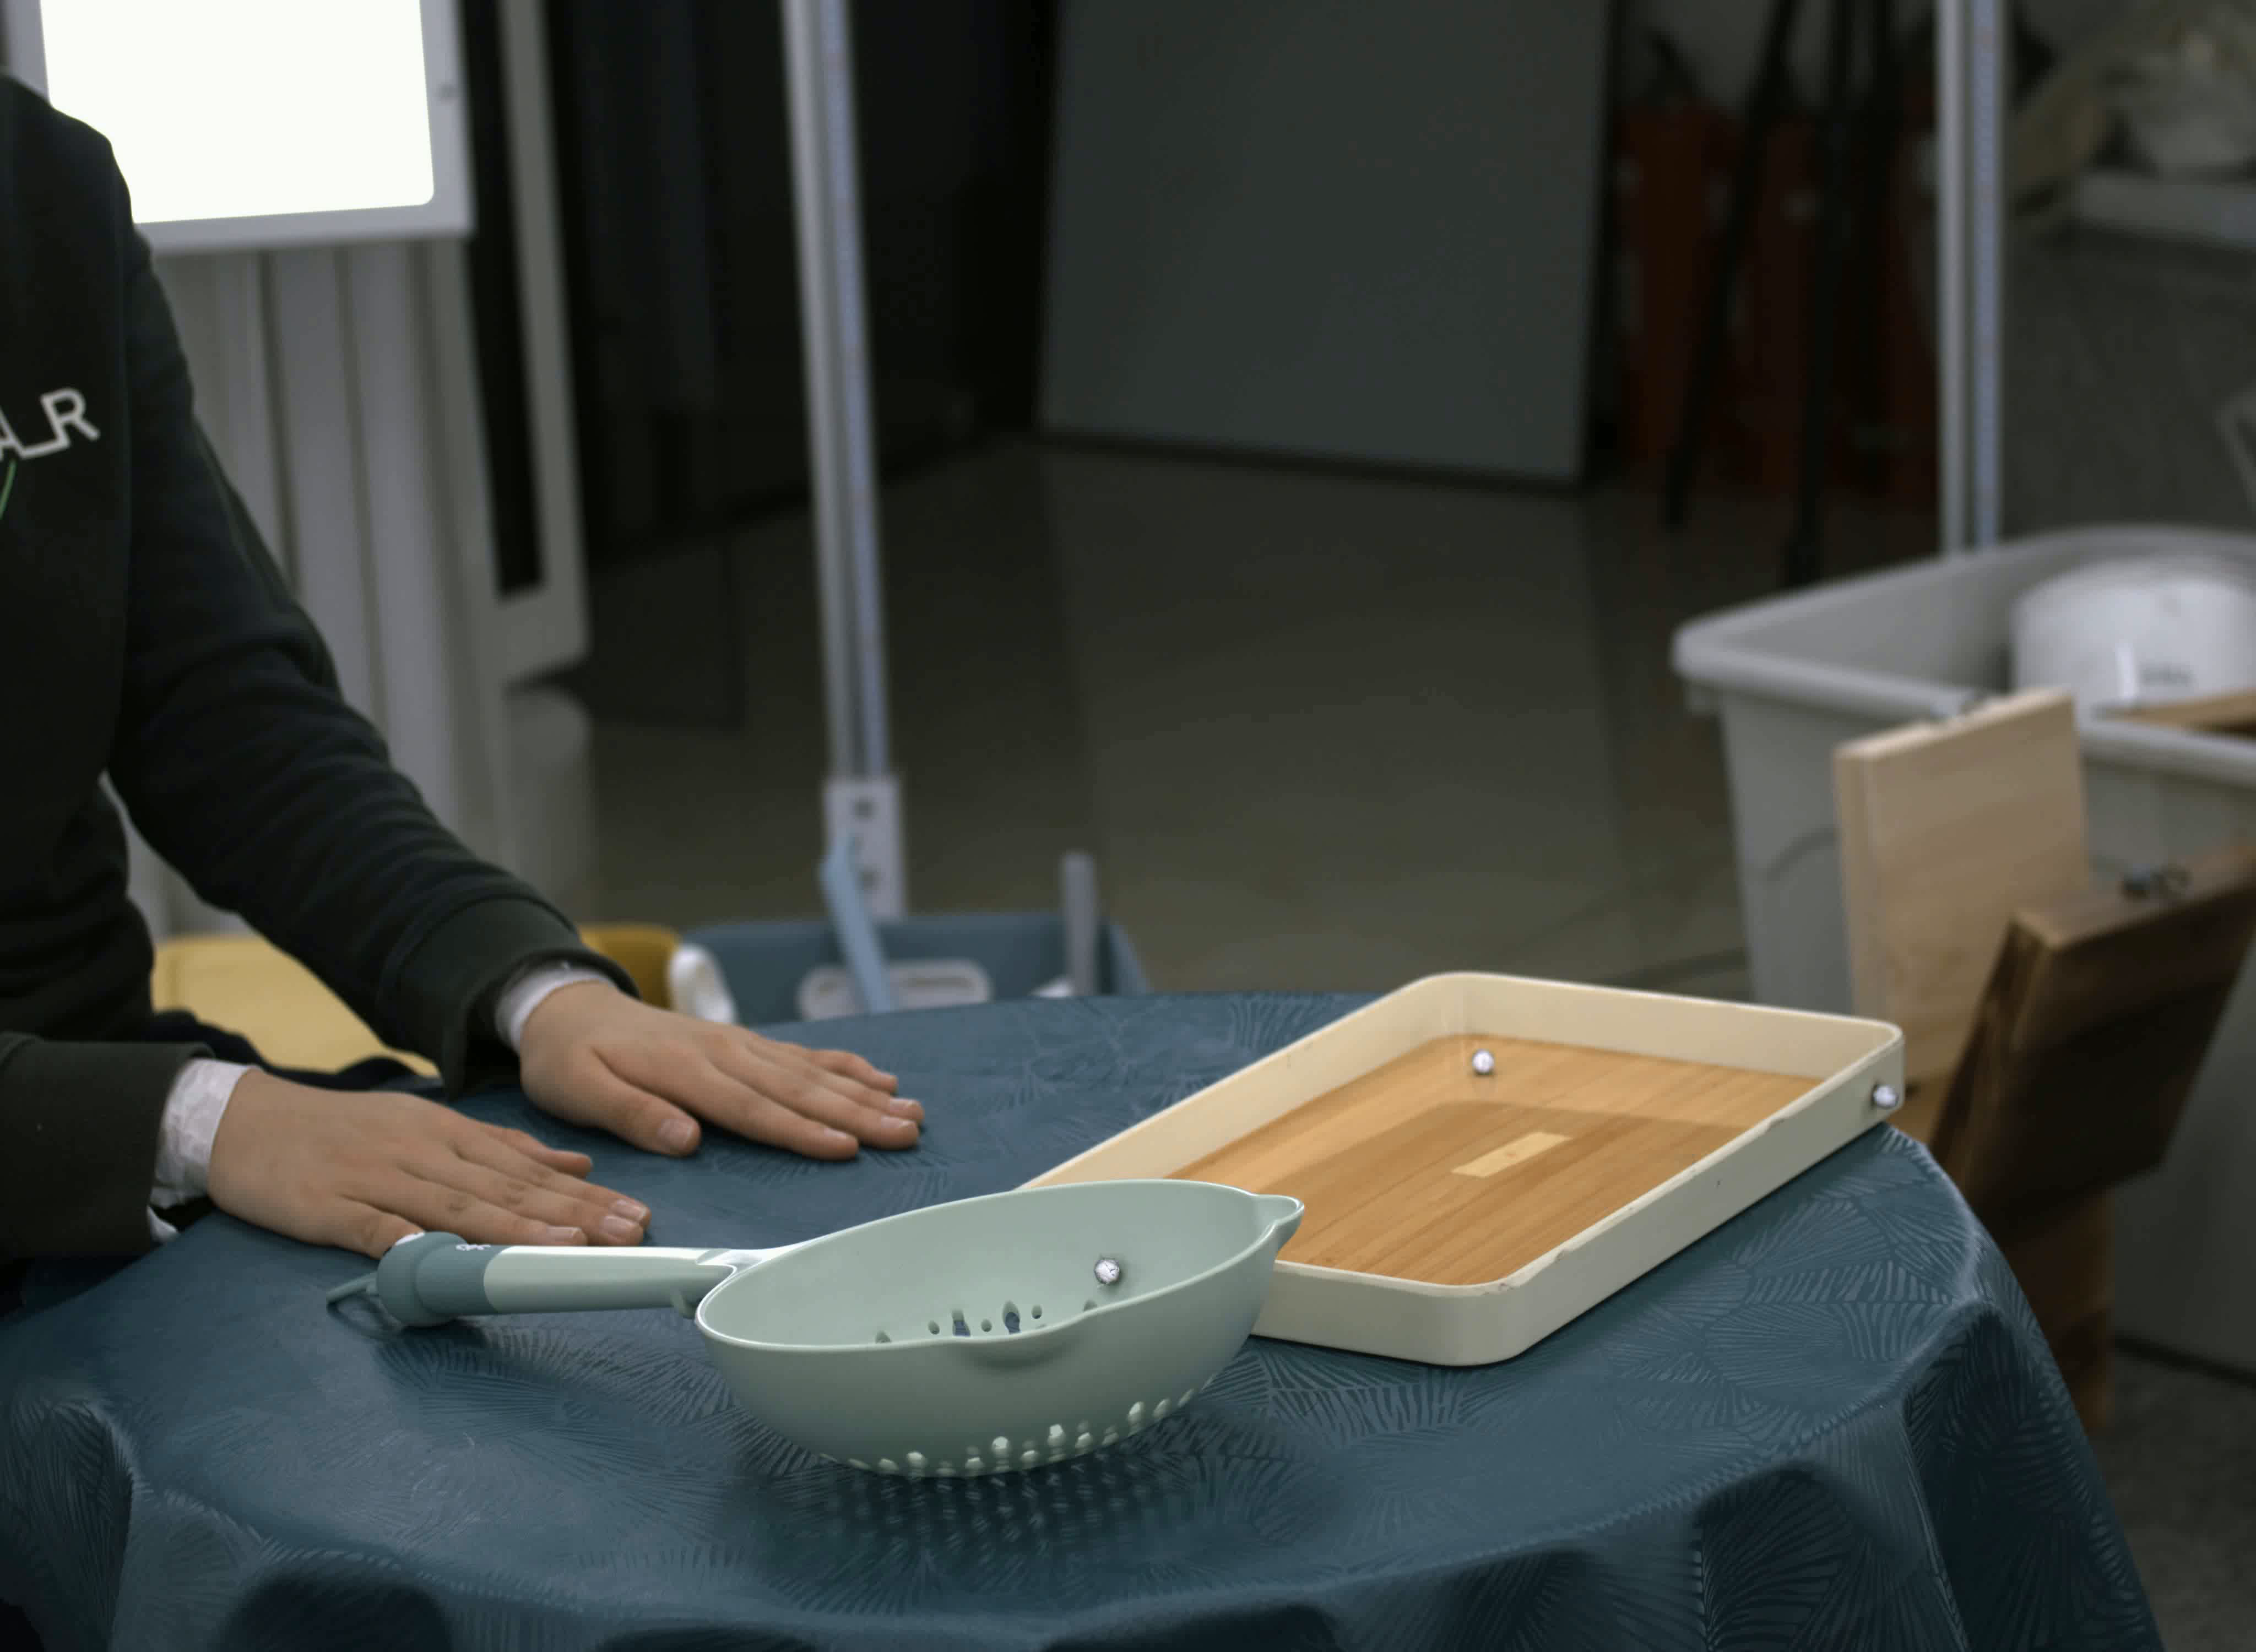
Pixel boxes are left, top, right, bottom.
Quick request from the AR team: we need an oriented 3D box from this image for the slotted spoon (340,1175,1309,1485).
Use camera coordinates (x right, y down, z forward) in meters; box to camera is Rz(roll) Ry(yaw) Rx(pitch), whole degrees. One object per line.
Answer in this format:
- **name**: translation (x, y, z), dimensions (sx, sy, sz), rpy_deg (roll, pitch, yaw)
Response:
- **slotted spoon**: translation (-0.111, 0.139, 1.596), dimensions (0.361, 0.076, 0.166), rpy_deg (7, 17, 39)

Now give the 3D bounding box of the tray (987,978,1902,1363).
- **tray**: translation (0.108, 0.107, 1.743), dimensions (0.192, 0.028, 0.295), rpy_deg (5, 16, 34)
